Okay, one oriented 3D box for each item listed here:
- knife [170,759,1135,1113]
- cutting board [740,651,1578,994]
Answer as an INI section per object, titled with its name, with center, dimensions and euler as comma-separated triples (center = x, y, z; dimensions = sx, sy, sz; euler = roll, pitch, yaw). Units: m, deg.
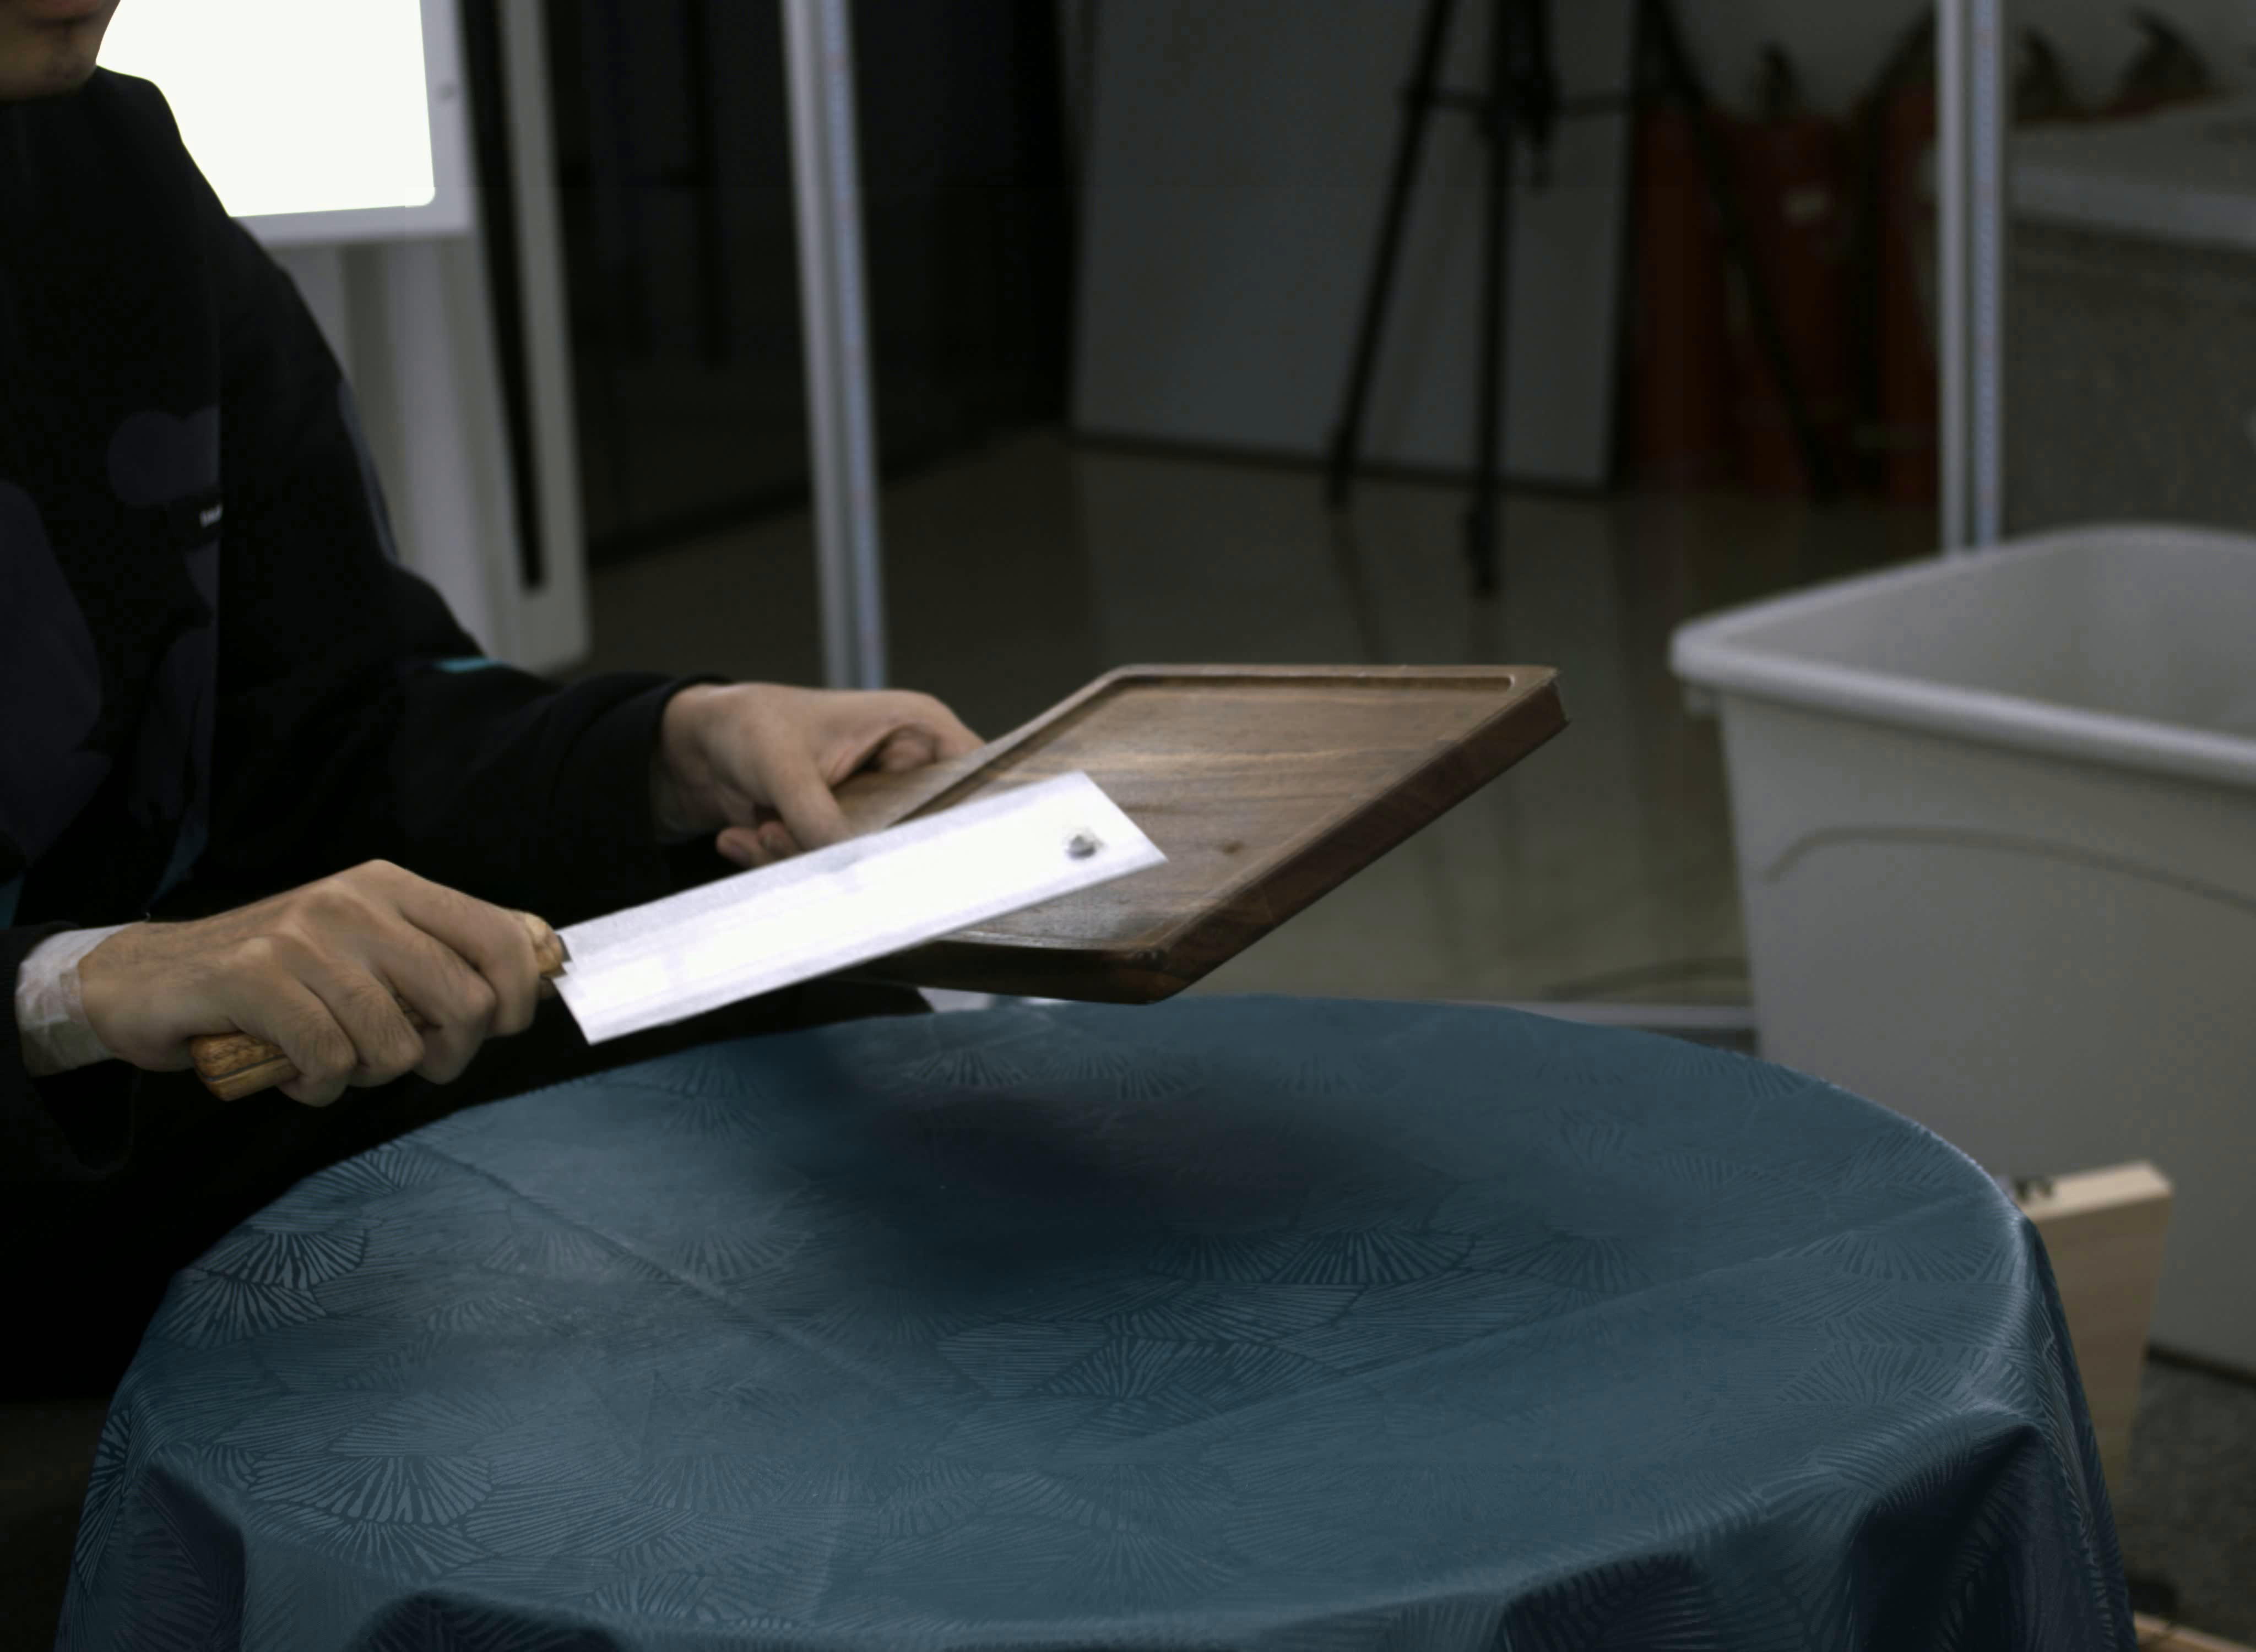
[knife]
center = -0.143, 0.037, 1.665
dimensions = 0.301, 0.021, 0.094
euler = -19, 23, -11
[cutting board]
center = -0.024, -0.002, 1.824
dimensions = 0.198, 0.023, 0.356
euler = -34, 19, -31
